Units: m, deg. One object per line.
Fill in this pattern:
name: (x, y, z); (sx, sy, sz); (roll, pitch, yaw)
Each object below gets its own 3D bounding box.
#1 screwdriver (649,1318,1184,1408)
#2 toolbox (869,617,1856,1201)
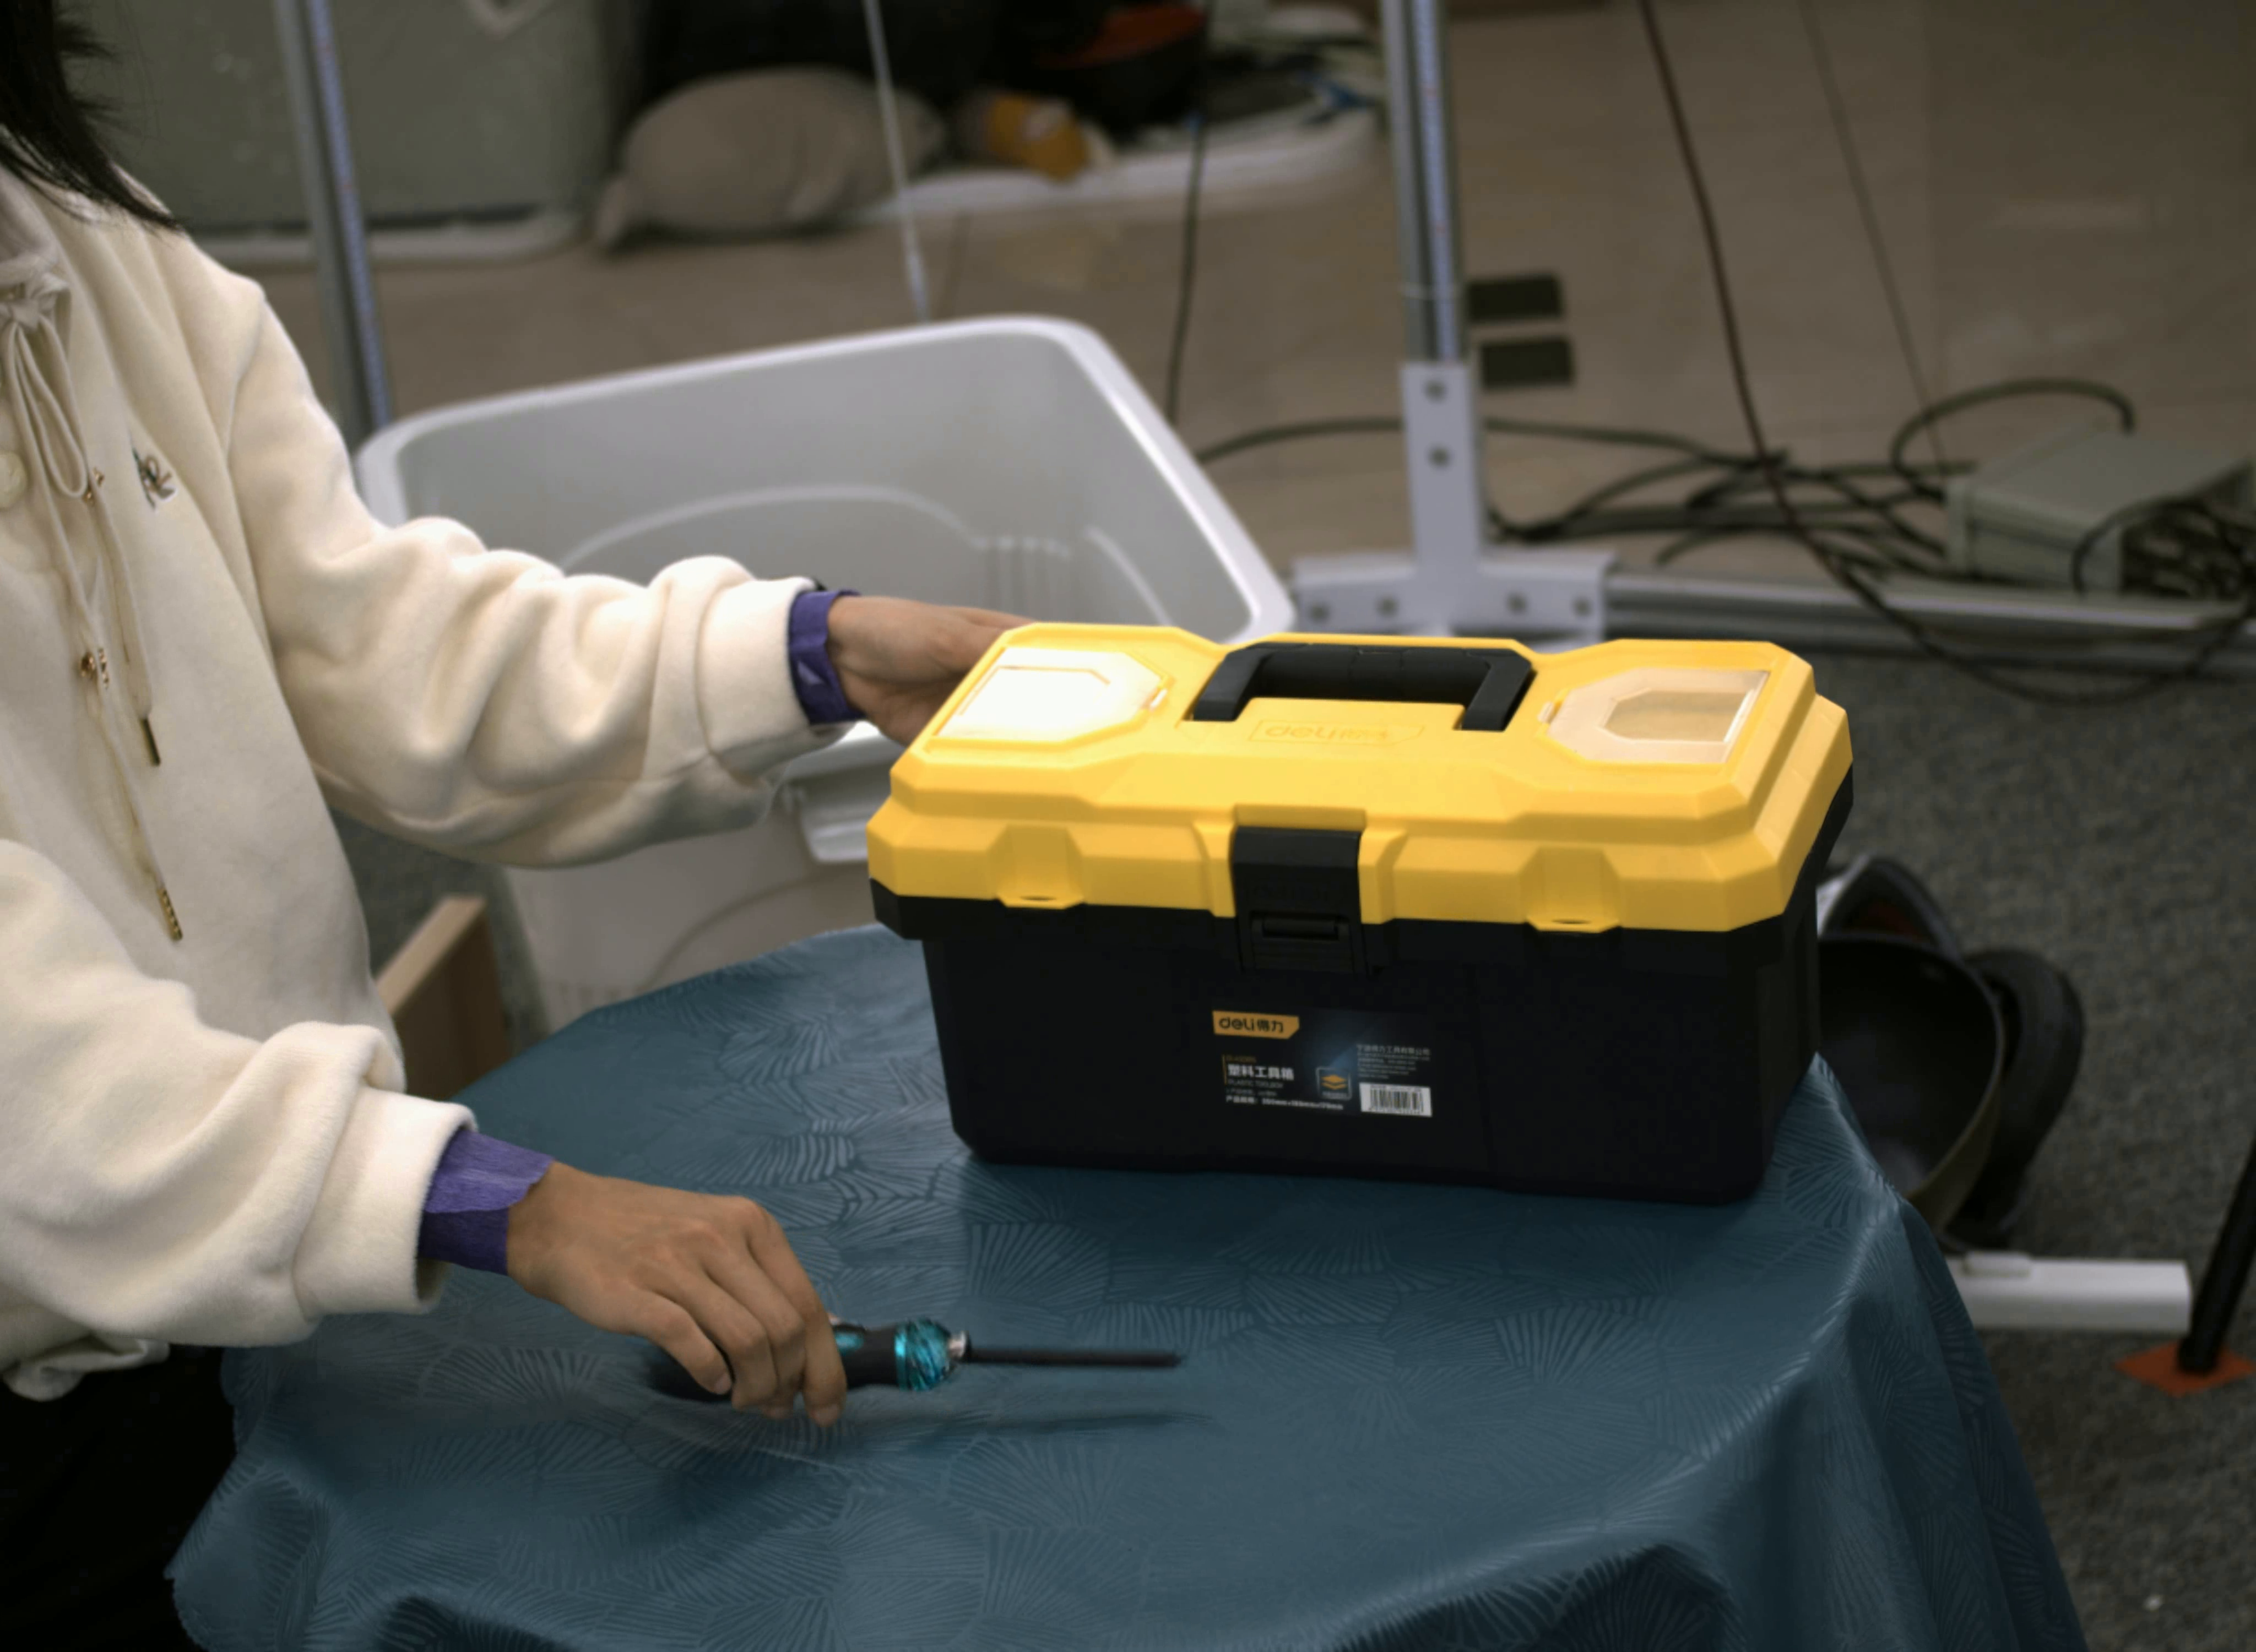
screwdriver: (-0.075, 0.192, 2.005); (0.189, 0.034, 0.033); (1, 26, 4)
toolbox: (0.091, 0.031, 2.149); (0.350, 0.175, 0.179); (3, 27, 19)
